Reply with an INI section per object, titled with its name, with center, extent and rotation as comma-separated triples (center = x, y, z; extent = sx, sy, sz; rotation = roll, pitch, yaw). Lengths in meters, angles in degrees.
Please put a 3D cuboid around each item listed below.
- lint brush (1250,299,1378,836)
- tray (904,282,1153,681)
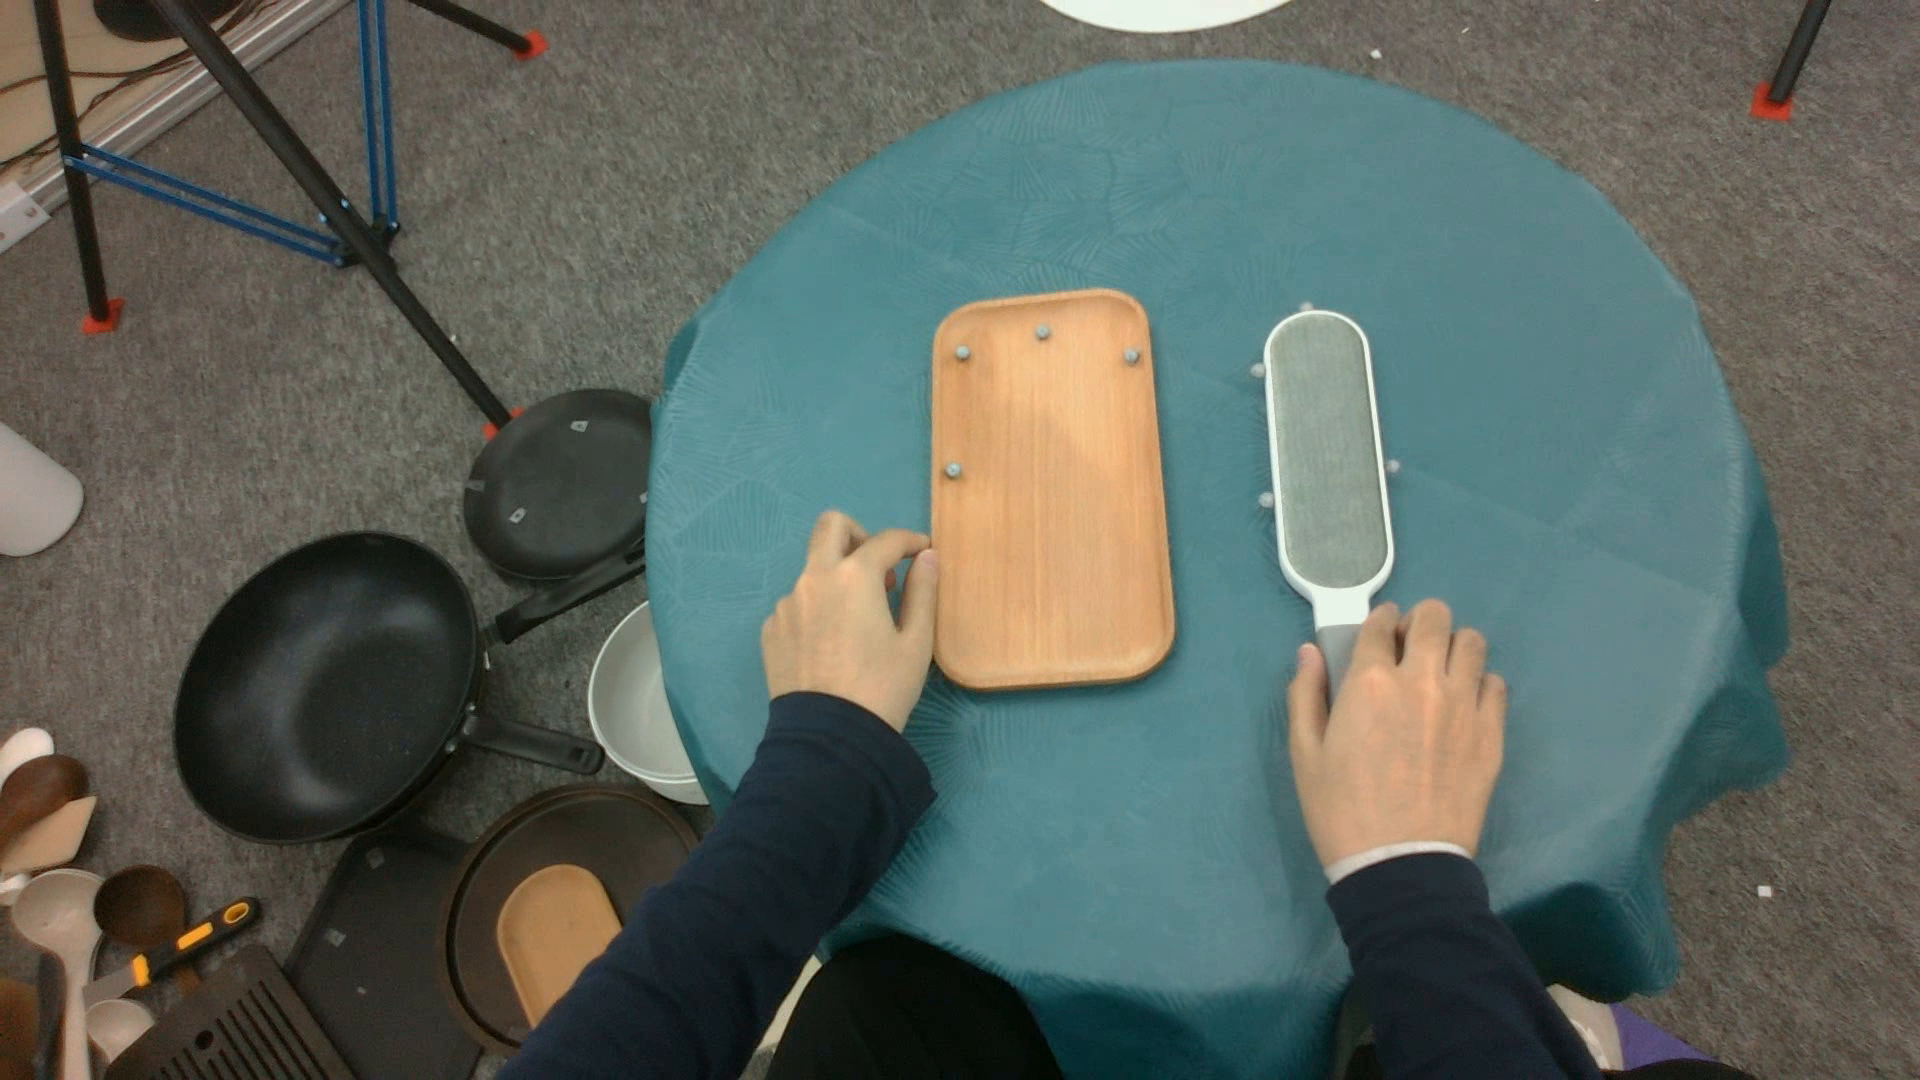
[lint brush]
center = 0.183, 0.000, 0.706
extent = 0.060, 0.021, 0.310
rotation = 0, 60, 4
[tray]
center = 0.037, -0.038, 0.758
extent = 0.130, 0.023, 0.251
rotation = -4, 60, 10
